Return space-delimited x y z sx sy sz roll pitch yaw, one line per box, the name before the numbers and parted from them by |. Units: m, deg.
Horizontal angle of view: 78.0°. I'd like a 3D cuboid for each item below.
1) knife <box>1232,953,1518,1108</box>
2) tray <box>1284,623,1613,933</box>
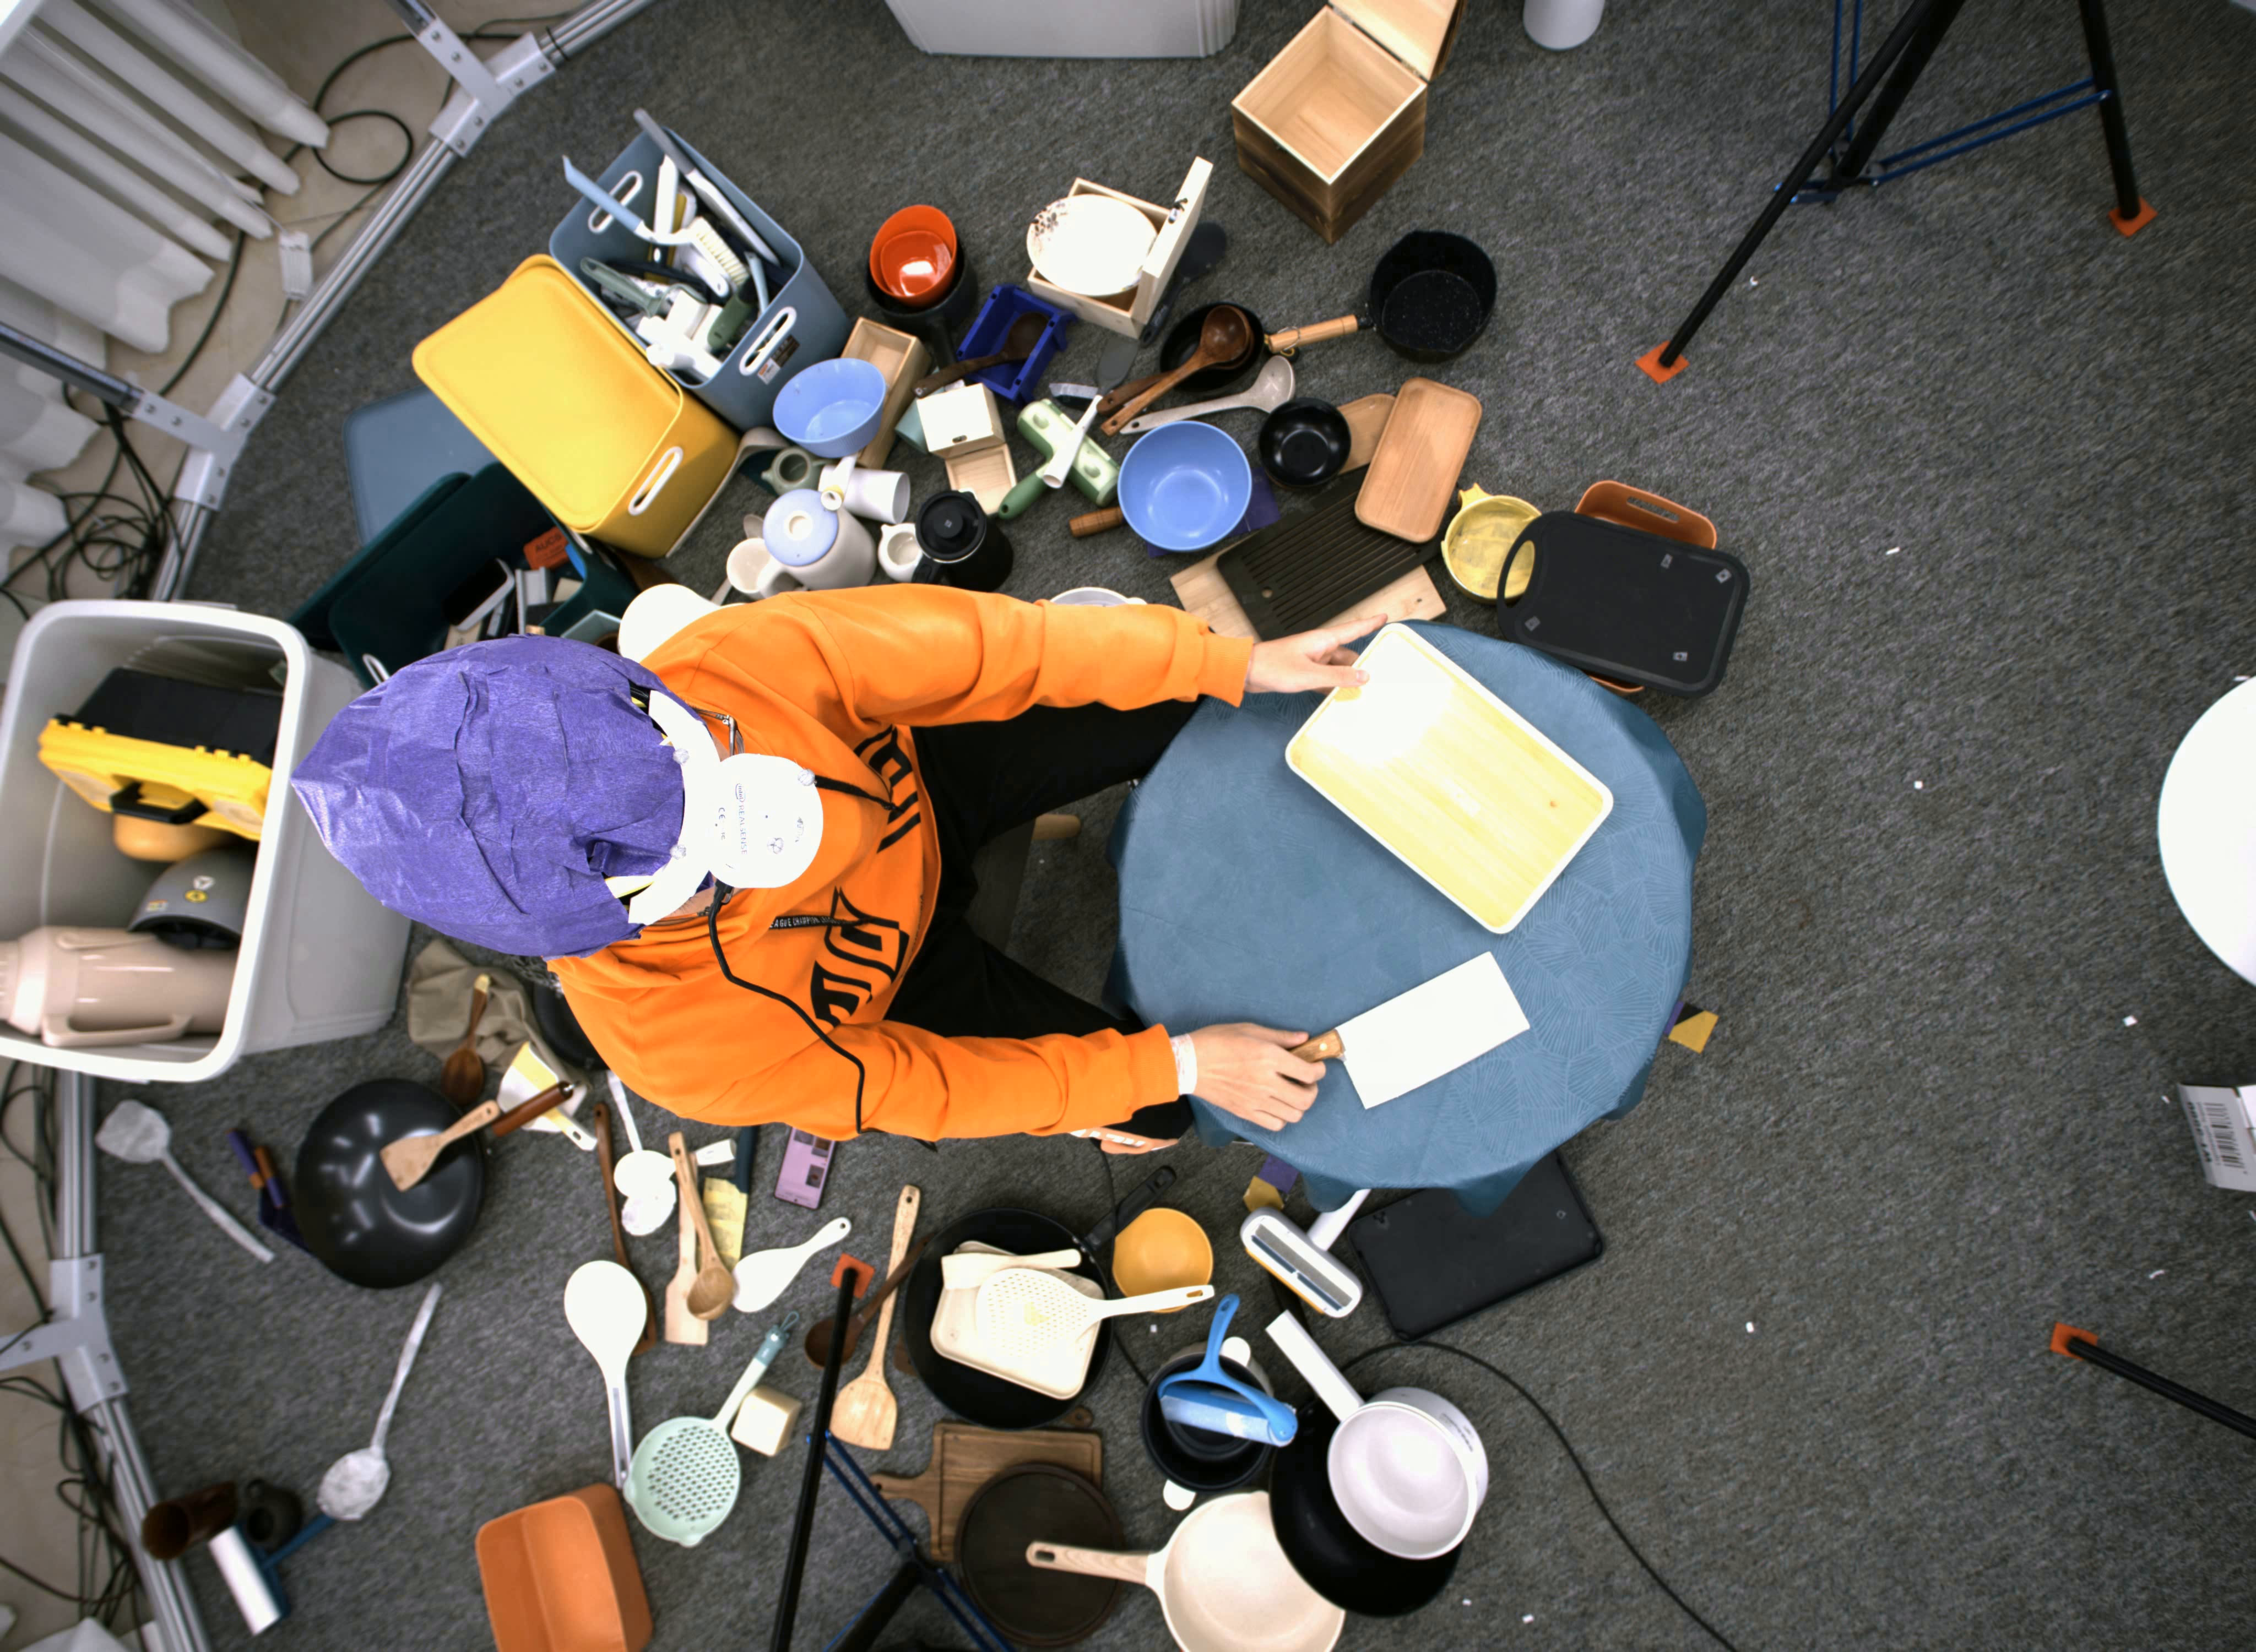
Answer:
knife | 0.261 0.235 1.445 0.307 0.021 0.092 -27 85 6
tray | 0.330 -0.052 1.425 0.300 0.027 0.192 40 95 3
